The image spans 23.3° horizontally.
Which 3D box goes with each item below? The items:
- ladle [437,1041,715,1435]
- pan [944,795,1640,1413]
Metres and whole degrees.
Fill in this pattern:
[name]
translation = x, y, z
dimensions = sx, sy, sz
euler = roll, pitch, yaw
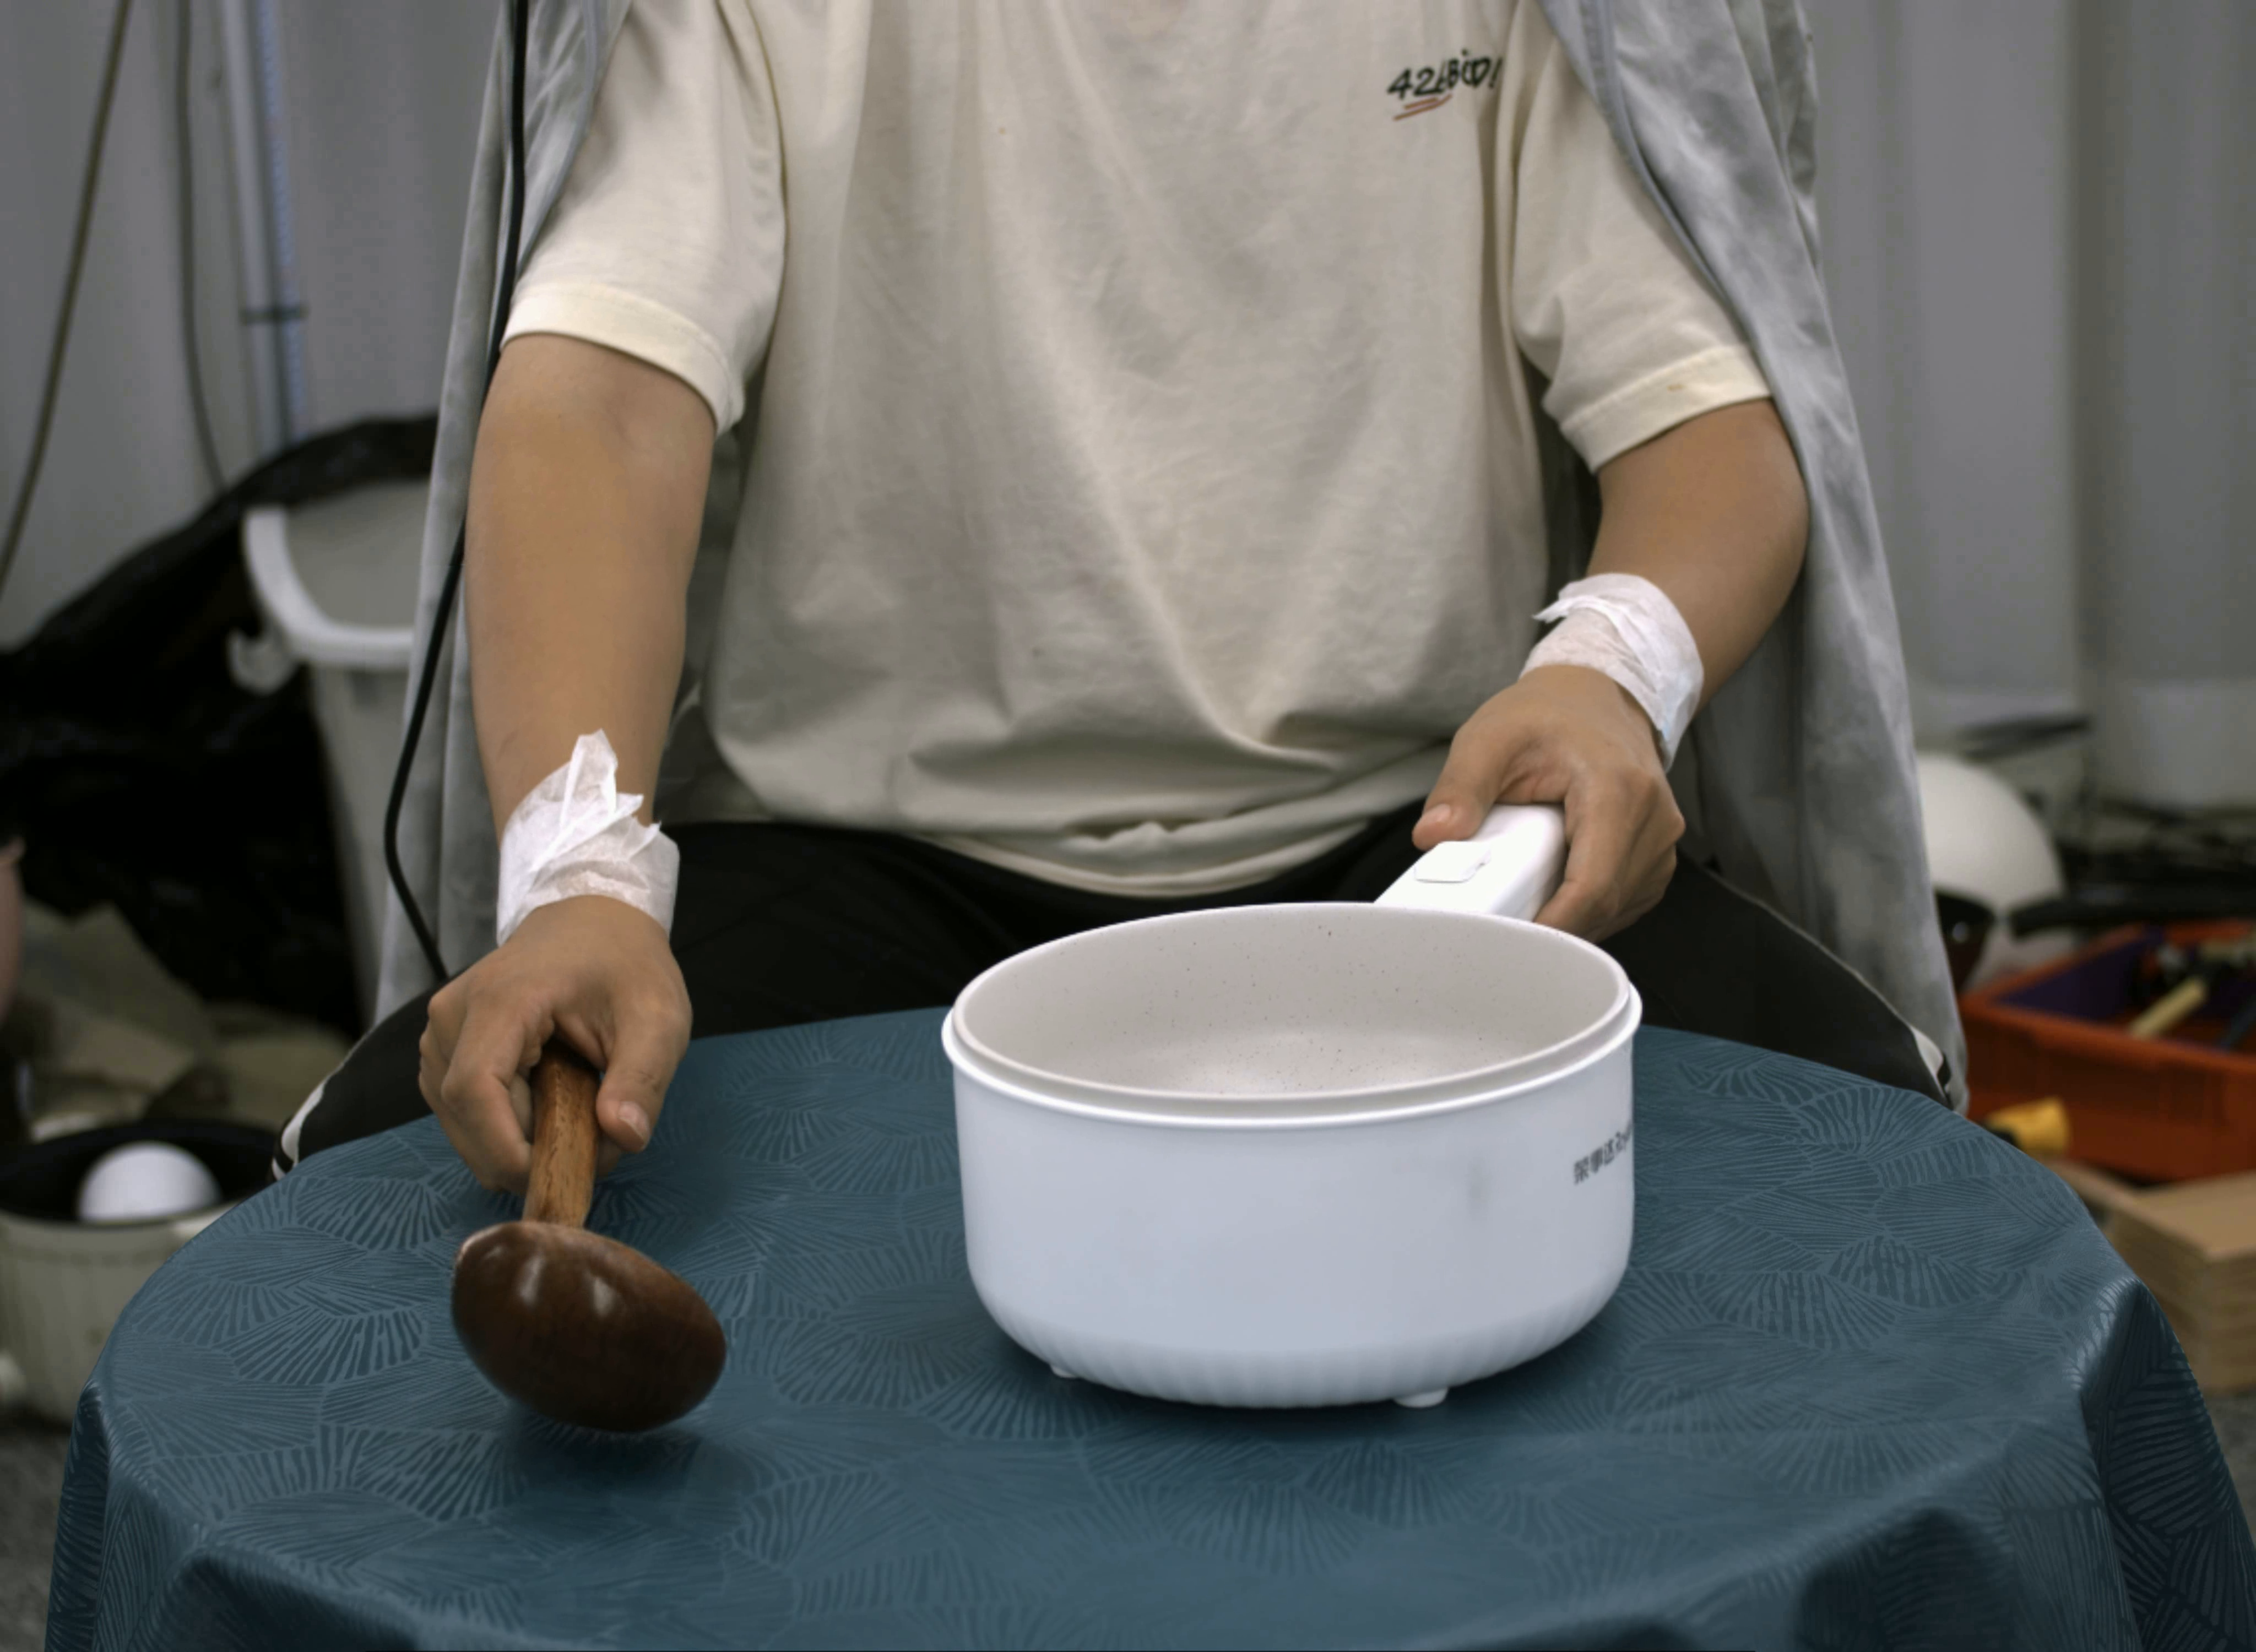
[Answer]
[ladle]
translation = -0.154, 0.100, 1.609
dimensions = 0.076, 0.081, 0.276
euler = -45, 14, 16
[pan]
translation = 0.076, 0.079, 1.651
dimensions = 0.201, 0.102, 0.356
euler = 1, 15, 21
